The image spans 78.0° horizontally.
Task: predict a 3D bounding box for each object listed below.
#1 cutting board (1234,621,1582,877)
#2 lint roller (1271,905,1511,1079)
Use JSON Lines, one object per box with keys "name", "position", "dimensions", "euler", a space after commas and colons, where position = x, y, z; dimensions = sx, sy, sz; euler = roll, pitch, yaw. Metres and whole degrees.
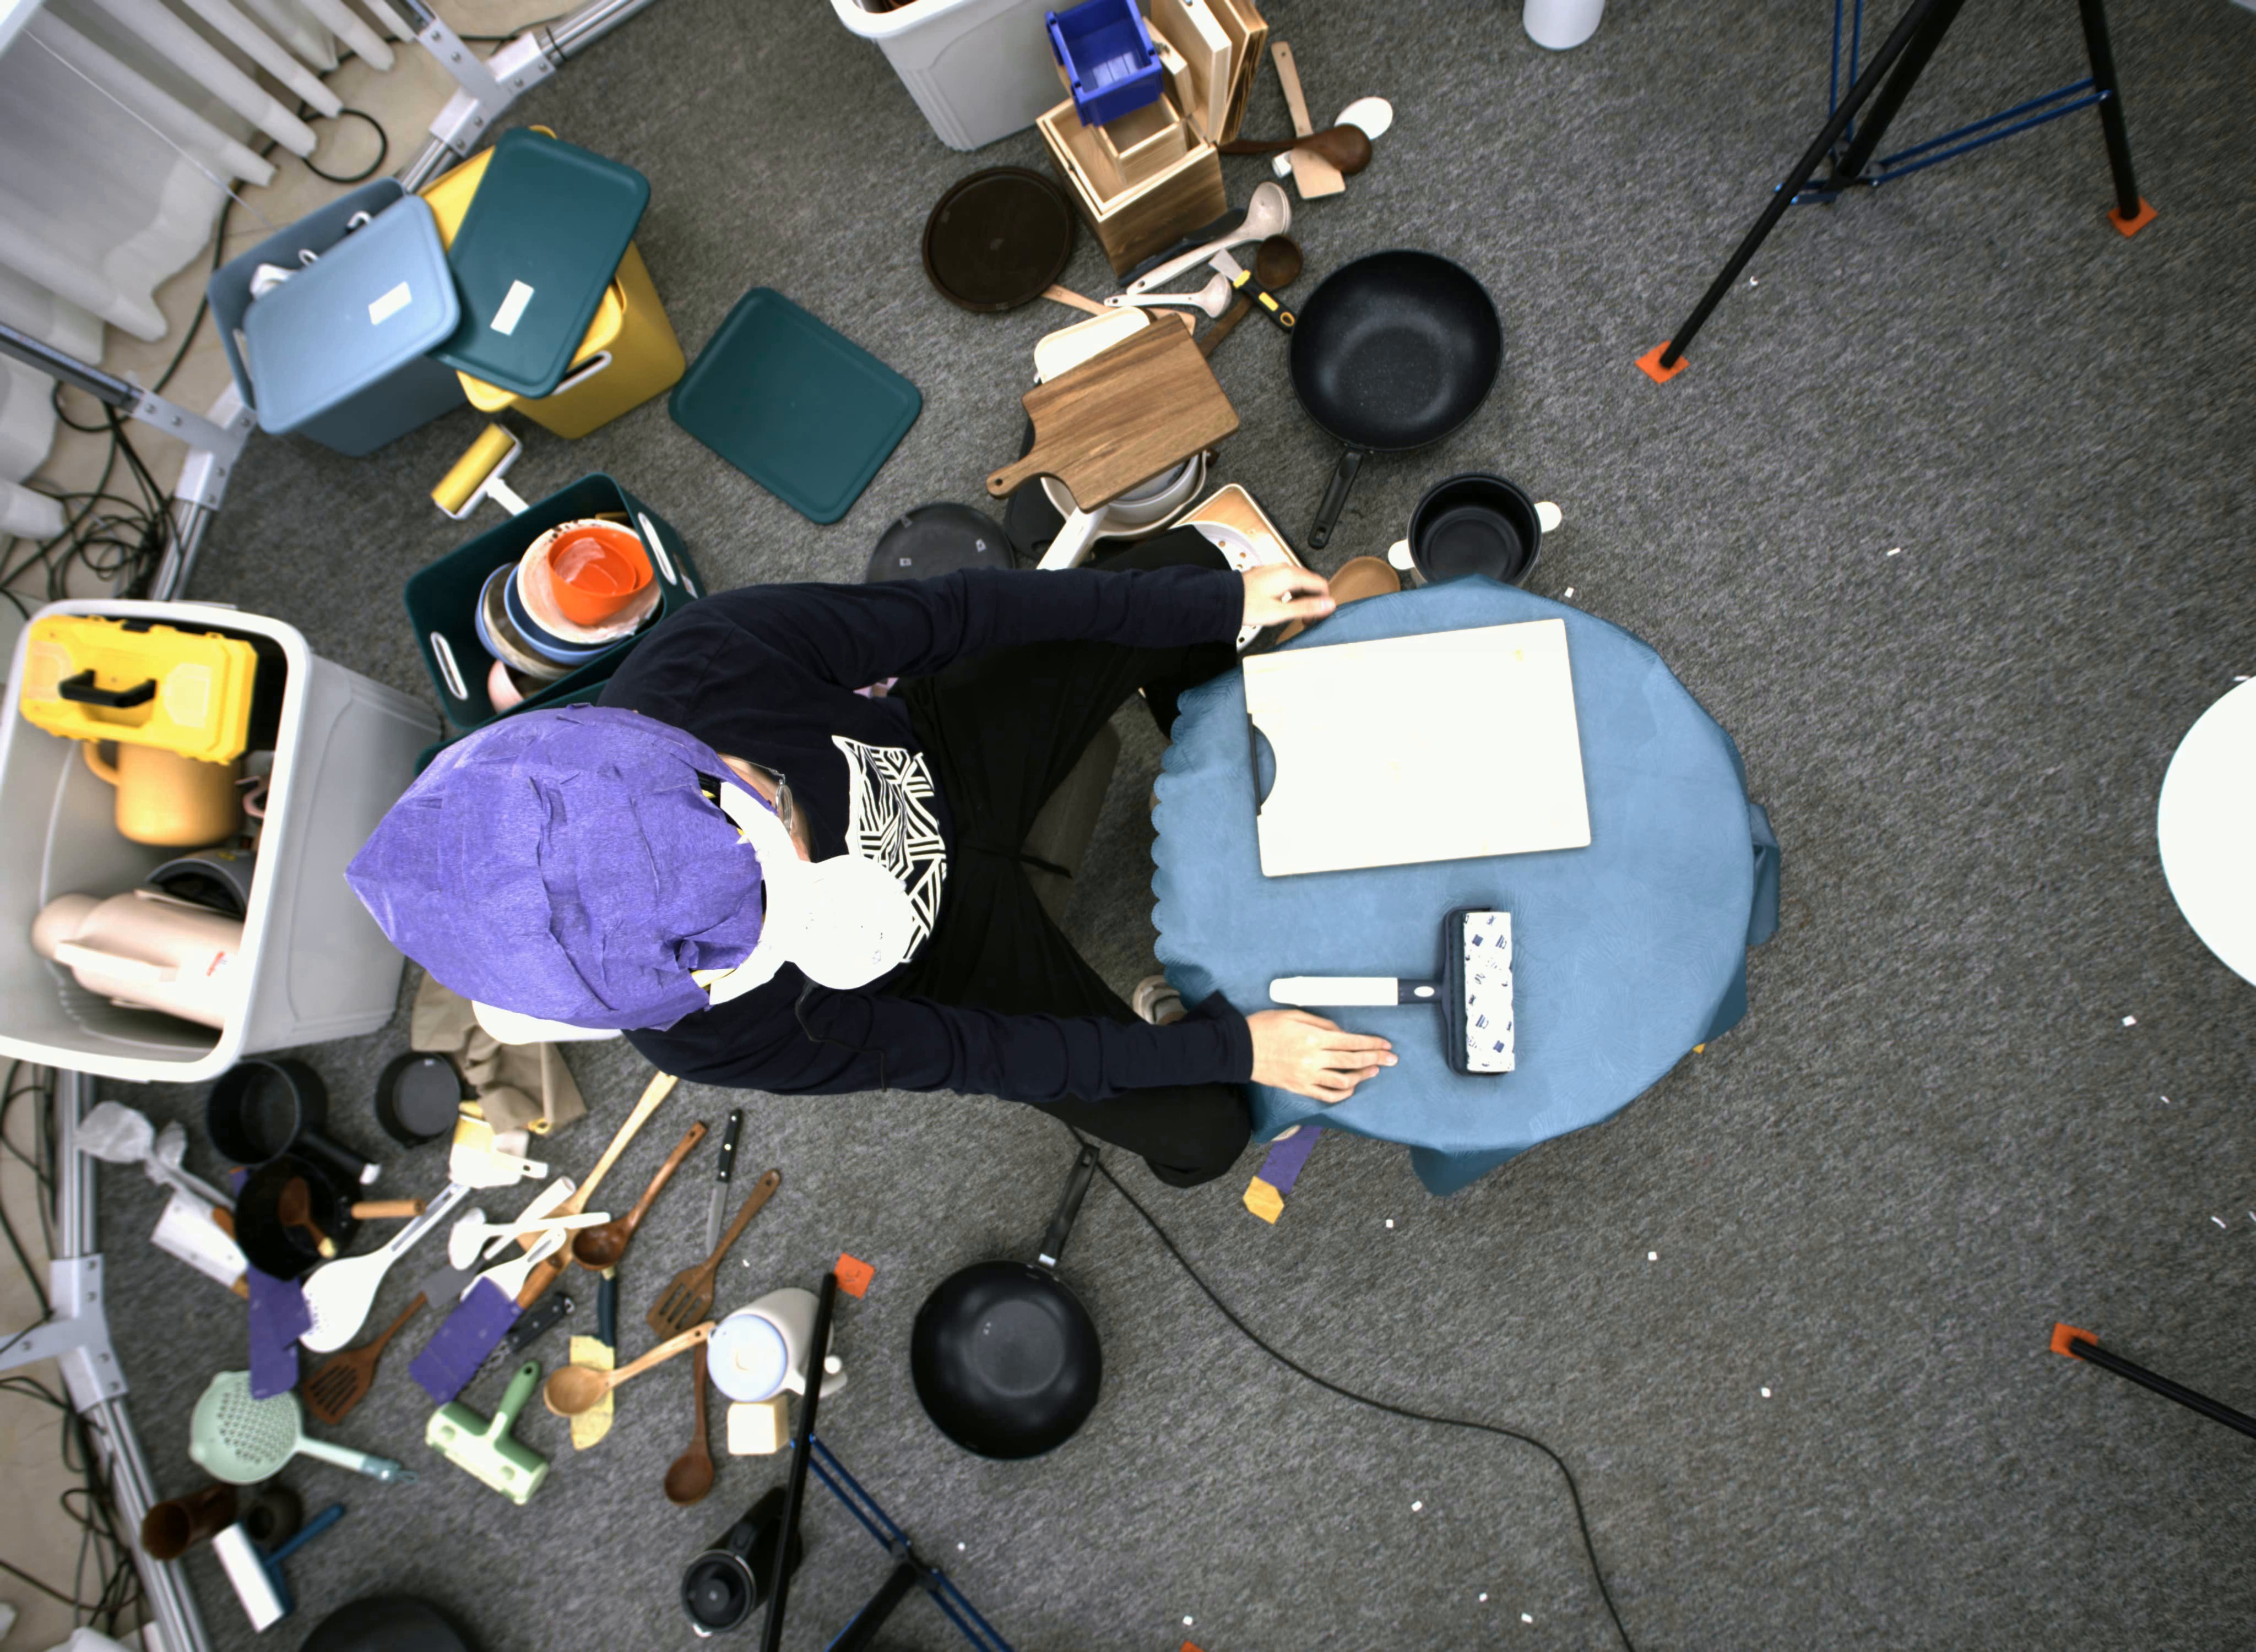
{"name": "cutting board", "position": [0.295, -0.082, 1.456], "dimensions": [0.350, 0.023, 0.249], "euler": [-7, 85, 10]}
{"name": "lint roller", "position": [0.270, 0.172, 1.434], "dimensions": [0.248, 0.050, 0.175], "euler": [-2, 87, 13]}
